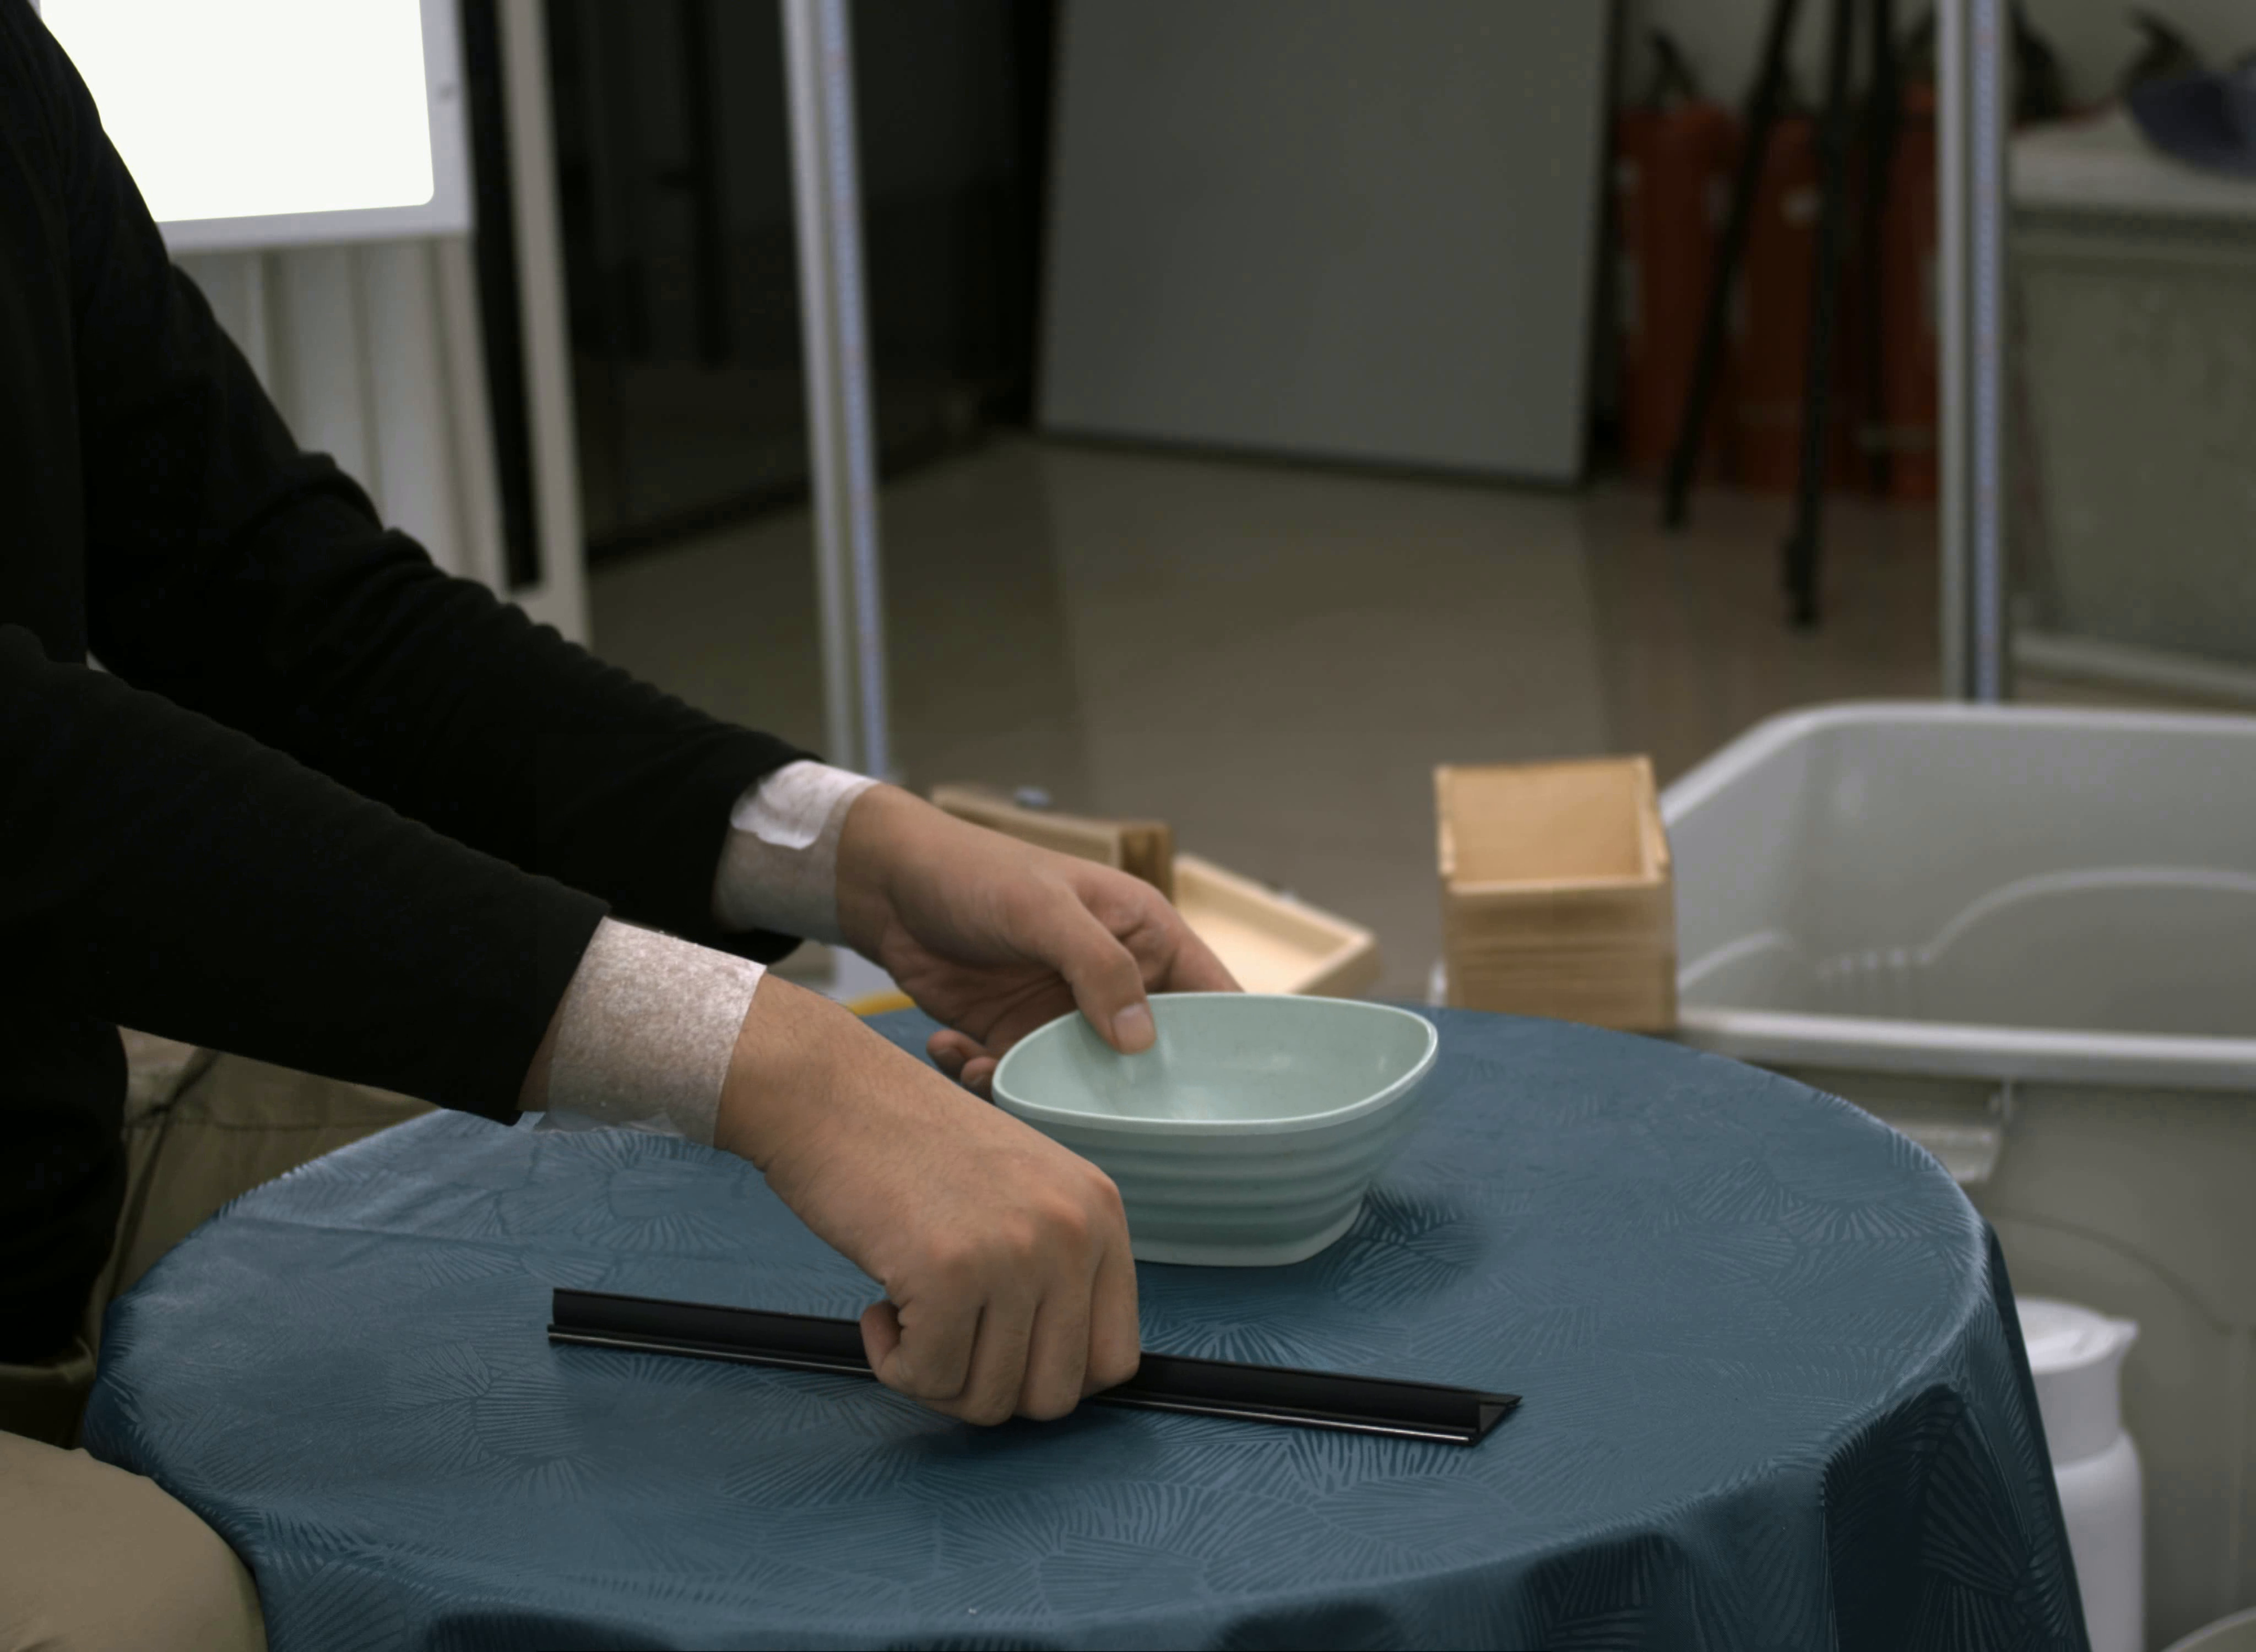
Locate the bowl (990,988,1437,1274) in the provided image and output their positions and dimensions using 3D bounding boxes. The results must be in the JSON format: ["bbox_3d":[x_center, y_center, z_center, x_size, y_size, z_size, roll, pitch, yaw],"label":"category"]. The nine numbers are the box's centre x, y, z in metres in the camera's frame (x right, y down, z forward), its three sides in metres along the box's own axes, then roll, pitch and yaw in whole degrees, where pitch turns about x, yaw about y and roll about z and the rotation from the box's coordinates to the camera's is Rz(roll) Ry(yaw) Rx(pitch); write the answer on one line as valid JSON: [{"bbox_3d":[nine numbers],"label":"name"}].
[{"bbox_3d":[0.029,0.101,1.725,0.149,0.059,0.152,-2,15,0],"label":"bowl"}]

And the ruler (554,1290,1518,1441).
[{"bbox_3d":[-0.032,0.155,1.607,0.313,0.017,0.039,3,13,28],"label":"ruler"}]
